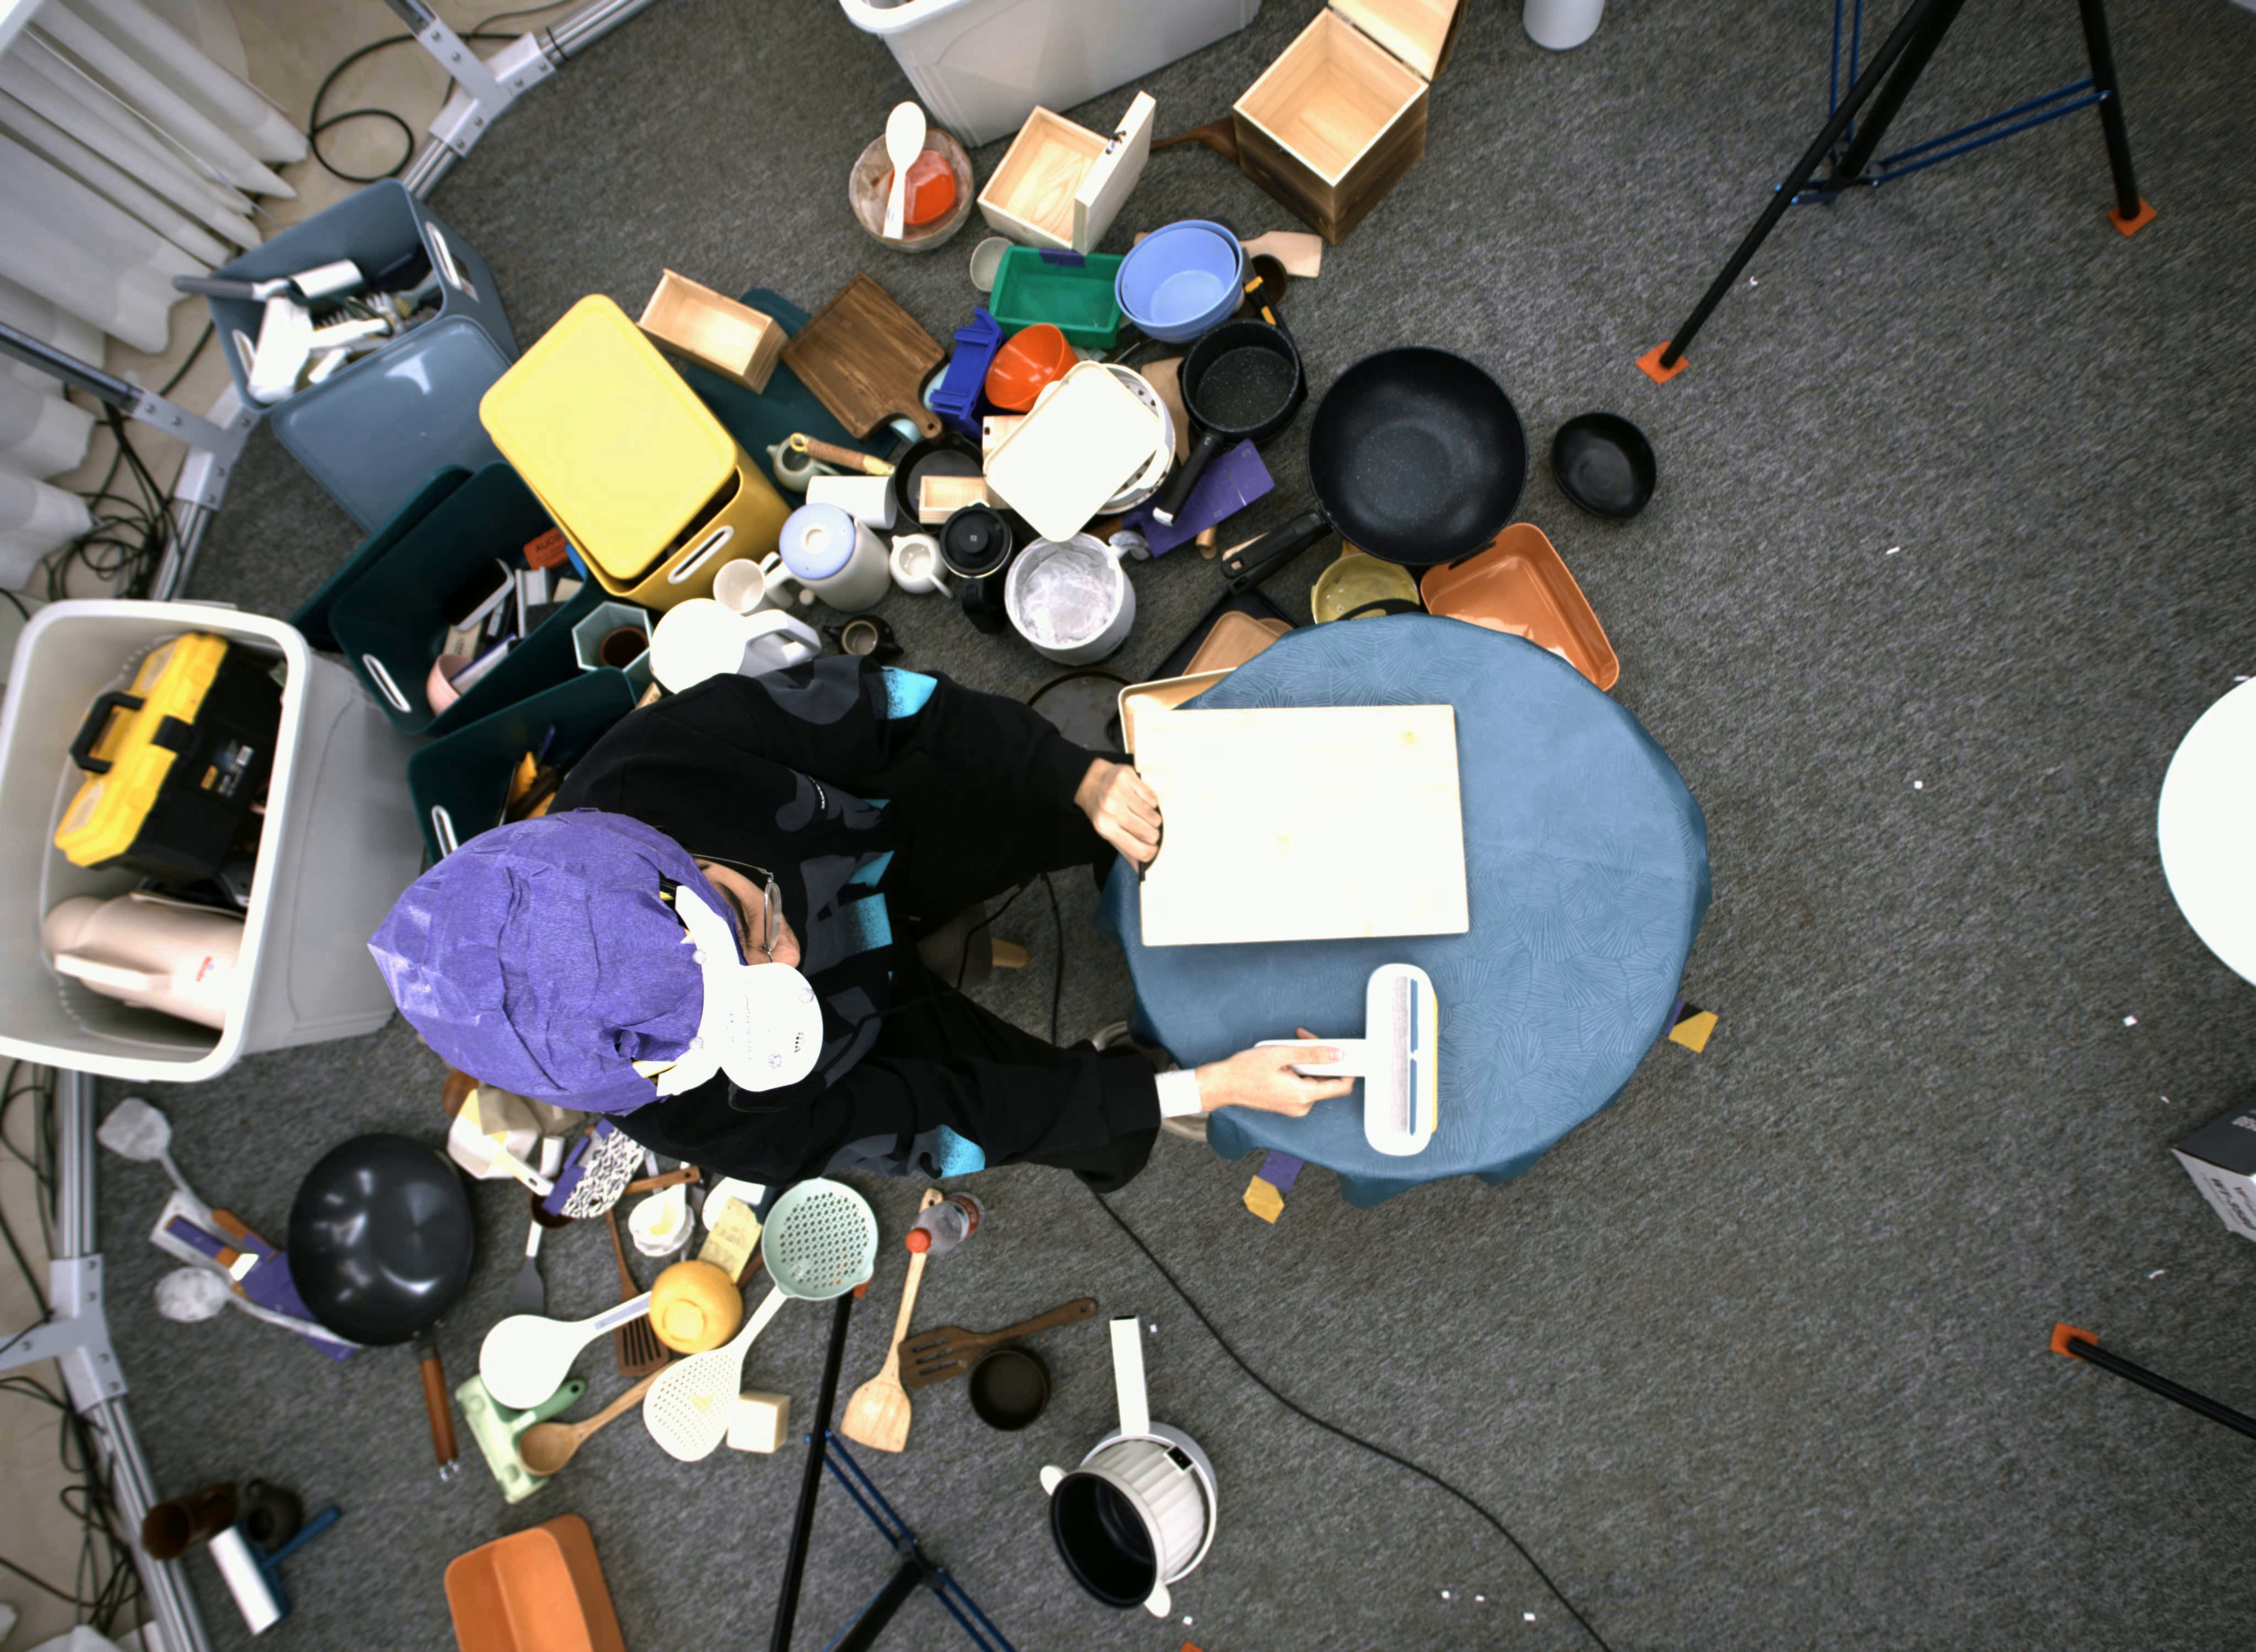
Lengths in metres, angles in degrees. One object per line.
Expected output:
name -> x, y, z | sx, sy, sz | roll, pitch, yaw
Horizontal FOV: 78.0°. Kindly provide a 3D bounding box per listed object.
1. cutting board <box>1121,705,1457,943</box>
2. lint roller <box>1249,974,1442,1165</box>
cutting board -> 0.169, -0.005, 1.420 | 0.348, 0.024, 0.249 | -2, 86, -6
lint roller -> 0.218, 0.240, 1.417 | 0.193, 0.075, 0.190 | 6, 78, 11
